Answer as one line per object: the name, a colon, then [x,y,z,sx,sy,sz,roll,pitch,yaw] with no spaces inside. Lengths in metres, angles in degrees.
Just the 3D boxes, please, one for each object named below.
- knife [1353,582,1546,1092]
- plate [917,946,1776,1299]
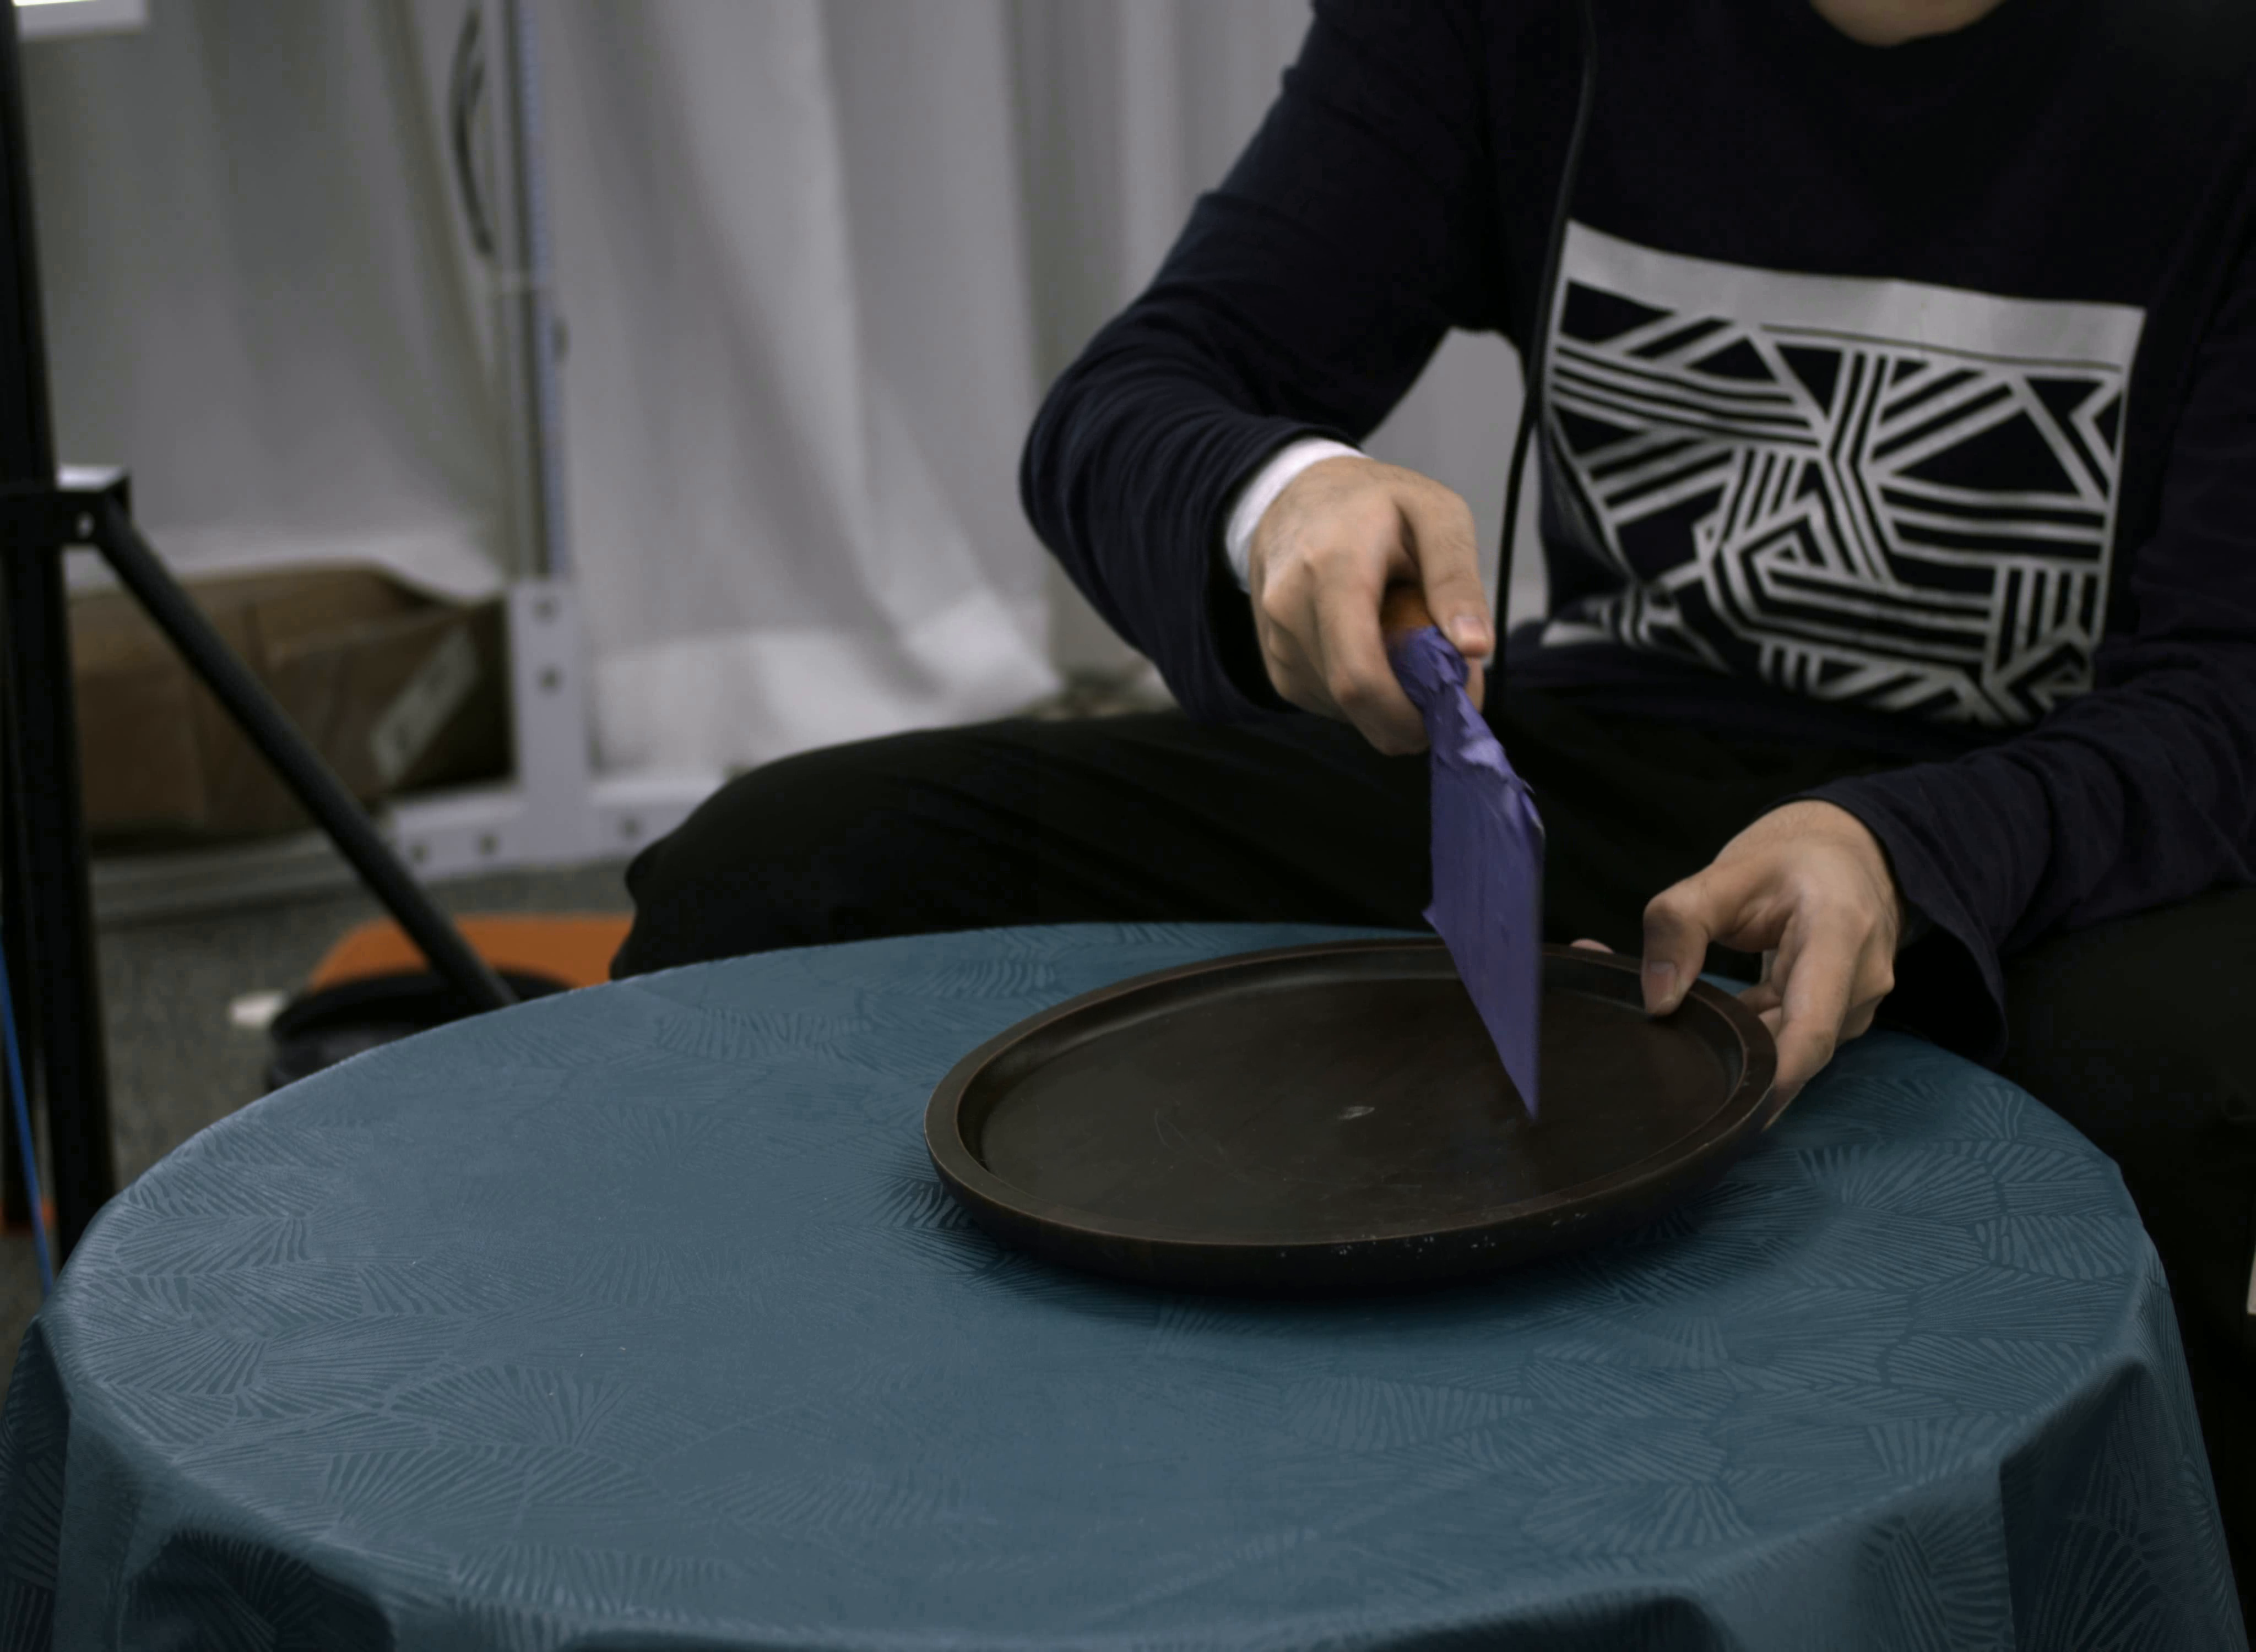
knife: [0.097,0.001,1.613,0.032,0.104,0.317,0,14,-3]
plate: [0.064,0.084,1.565,0.254,0.029,0.256,-6,18,1]
